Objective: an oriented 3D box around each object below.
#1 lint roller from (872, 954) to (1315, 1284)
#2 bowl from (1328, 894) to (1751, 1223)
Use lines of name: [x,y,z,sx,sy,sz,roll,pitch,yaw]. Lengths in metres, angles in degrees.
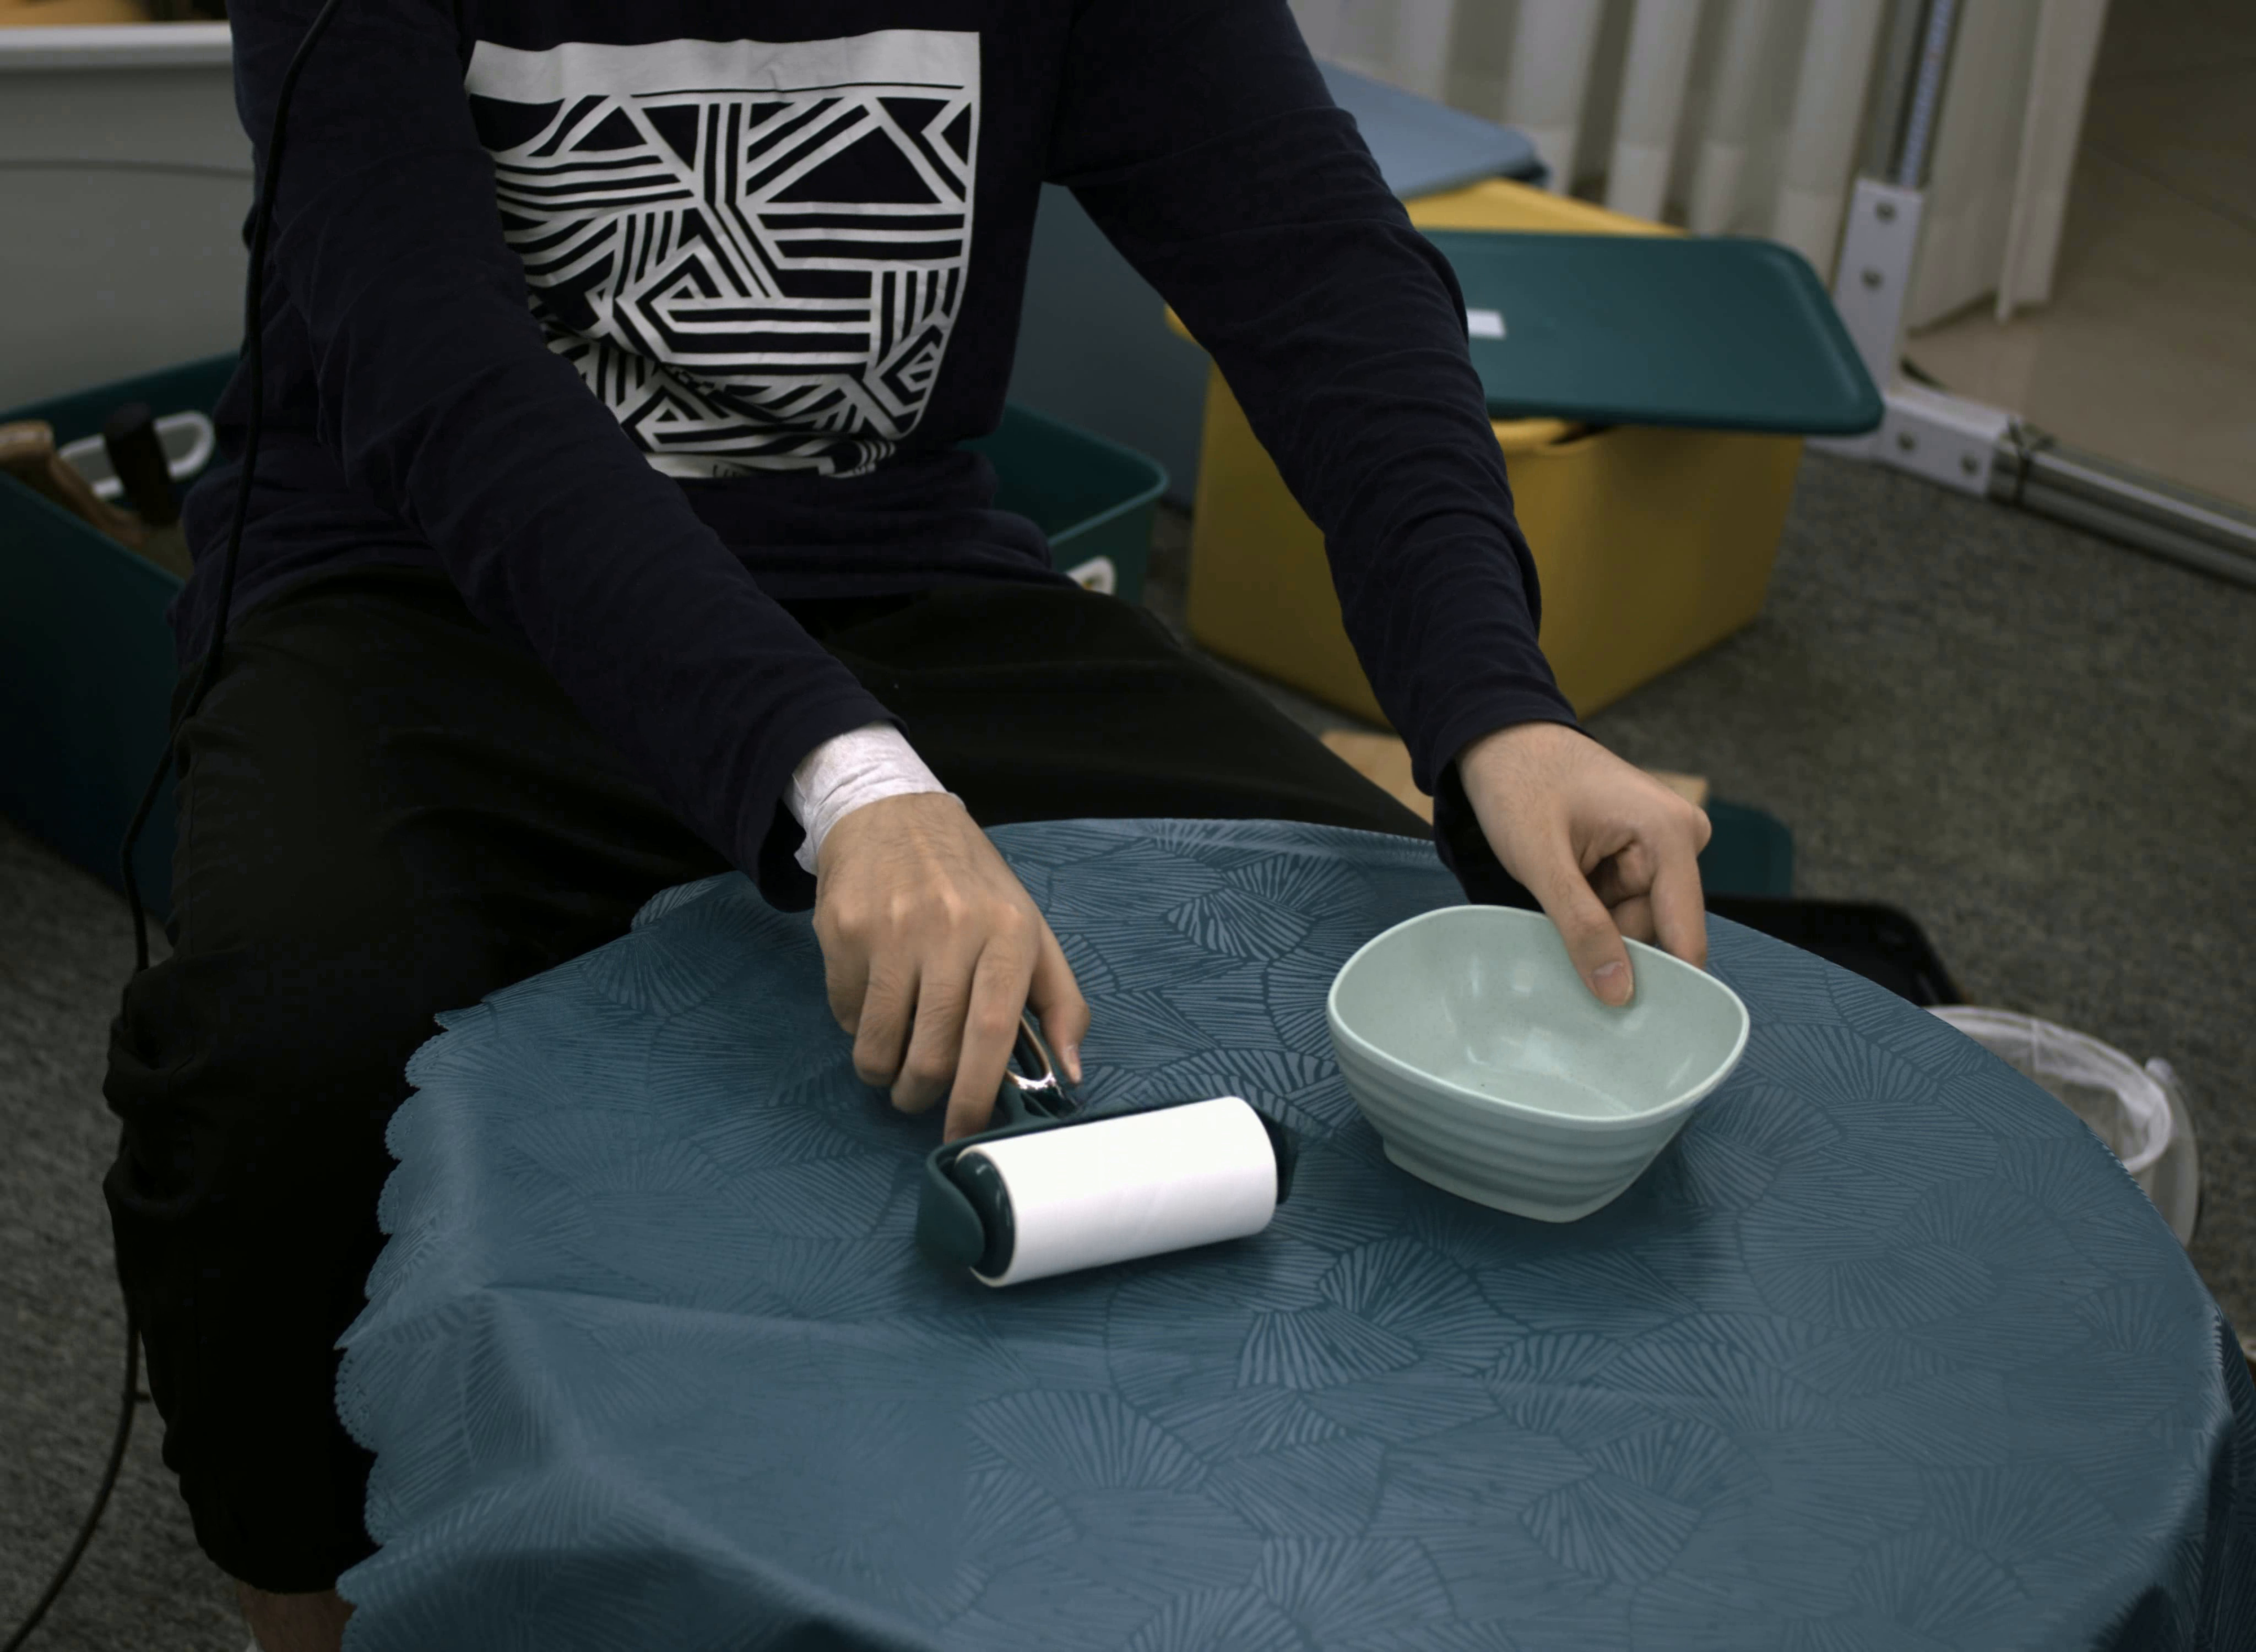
lint roller: [-0.037,0.081,1.803,0.133,0.048,0.182,-9,40,-28]
bowl: [0.139,0.087,1.847,0.151,0.058,0.152,6,29,-4]
